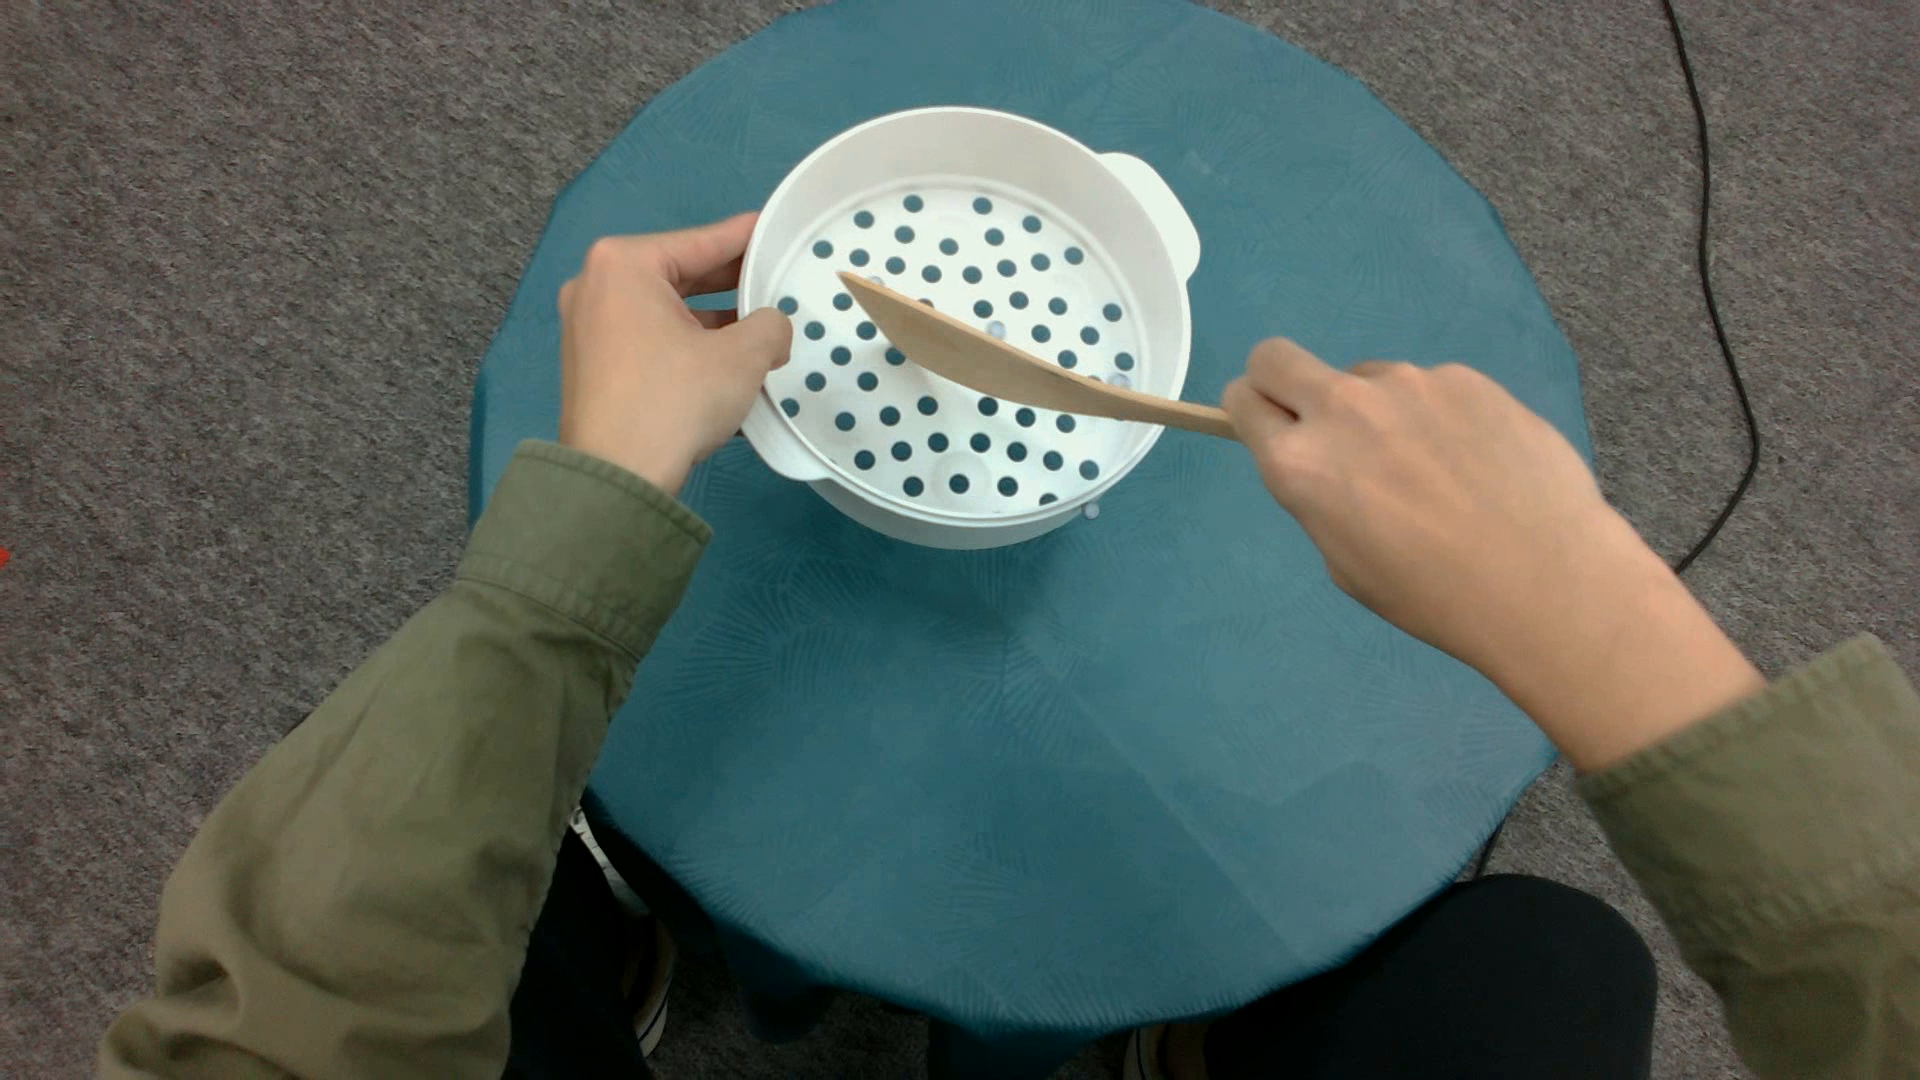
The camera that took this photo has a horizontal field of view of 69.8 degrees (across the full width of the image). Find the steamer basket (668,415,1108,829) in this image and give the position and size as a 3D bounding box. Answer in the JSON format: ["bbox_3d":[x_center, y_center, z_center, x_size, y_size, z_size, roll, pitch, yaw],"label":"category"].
[{"bbox_3d":[-0.032,0.039,0.668,0.231,0.069,0.202,-37,70,-20],"label":"steamer basket"}]

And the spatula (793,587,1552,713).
[{"bbox_3d":[0.065,0.046,0.557,0.327,0.080,0.016,1,62,34],"label":"spatula"}]
